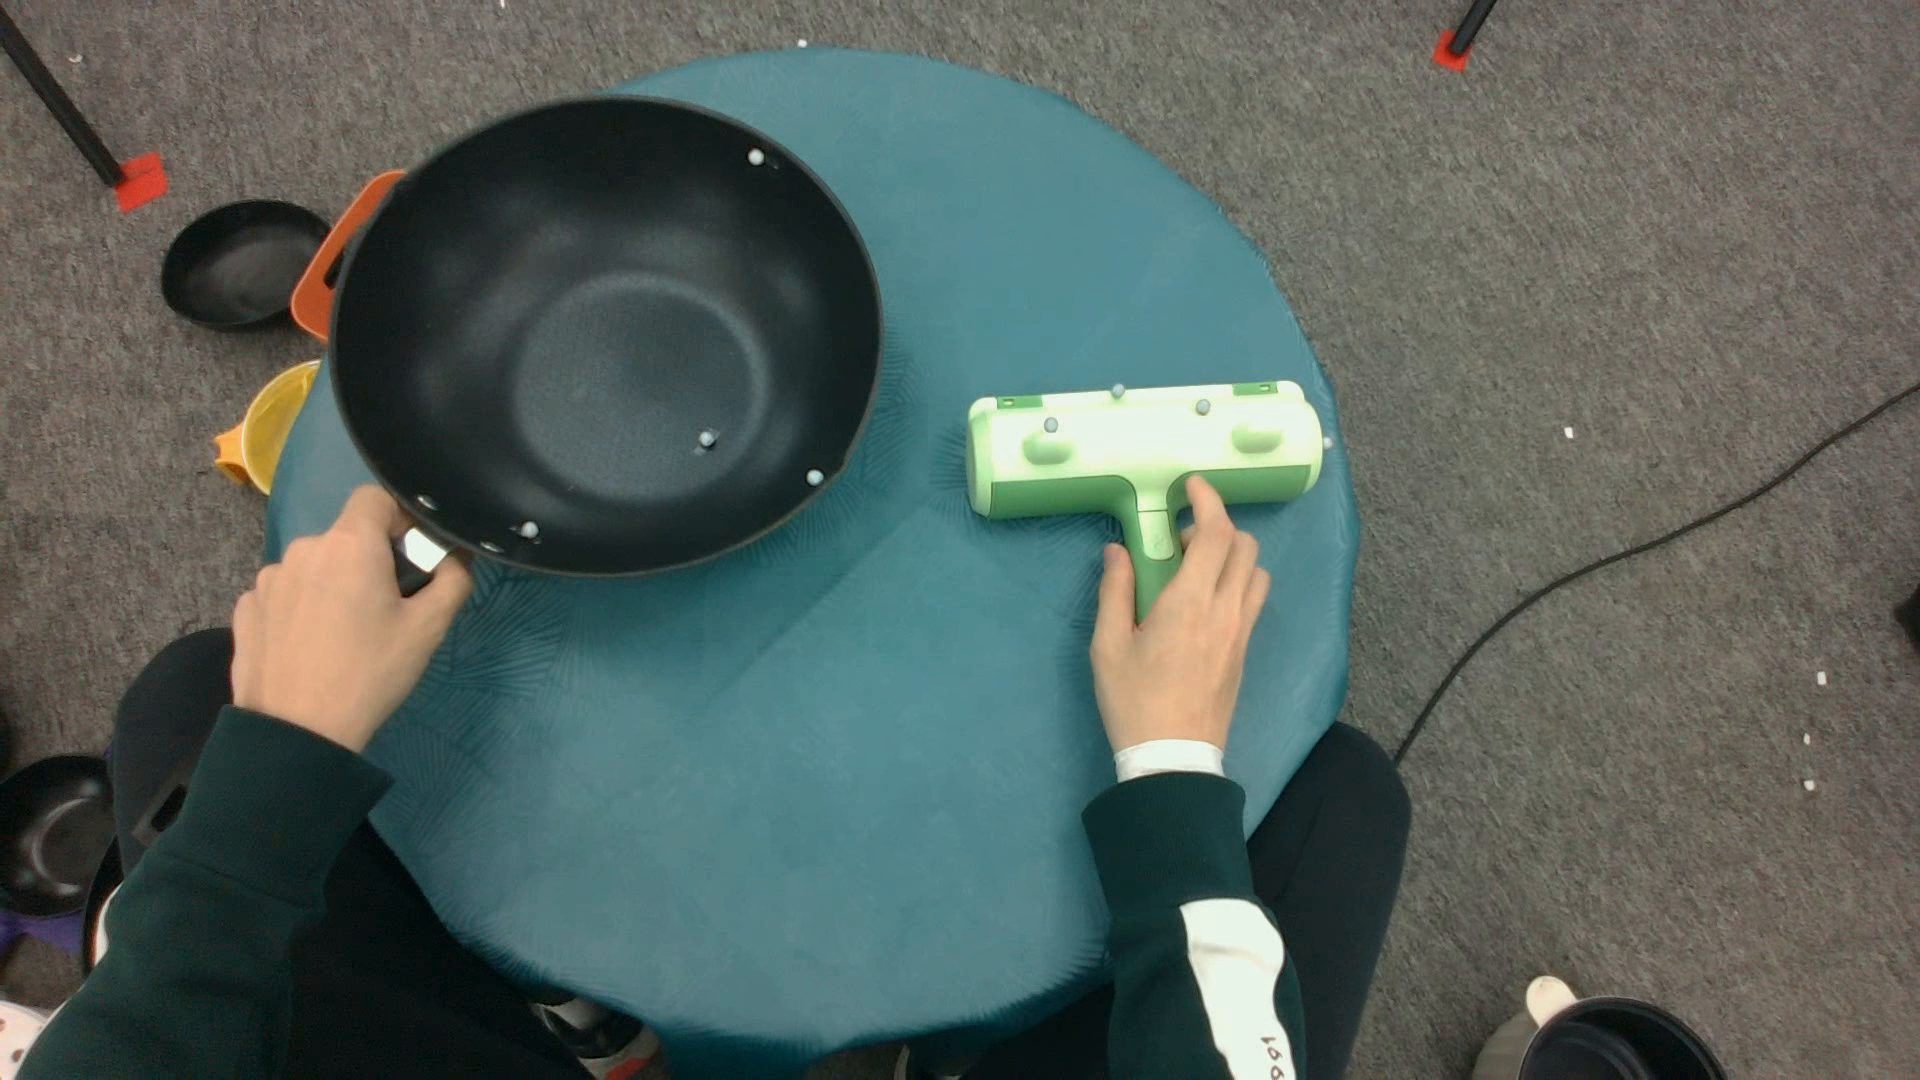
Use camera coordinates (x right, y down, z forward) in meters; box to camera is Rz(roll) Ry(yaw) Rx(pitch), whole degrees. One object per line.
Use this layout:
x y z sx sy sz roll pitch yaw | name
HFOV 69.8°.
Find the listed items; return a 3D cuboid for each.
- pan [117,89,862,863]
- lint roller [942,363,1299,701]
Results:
-0.242 -0.030 0.717 0.288 0.086 0.465 31 72 7 | pan
0.097 -0.011 0.744 0.199 0.082 0.184 -5 65 -7 | lint roller
